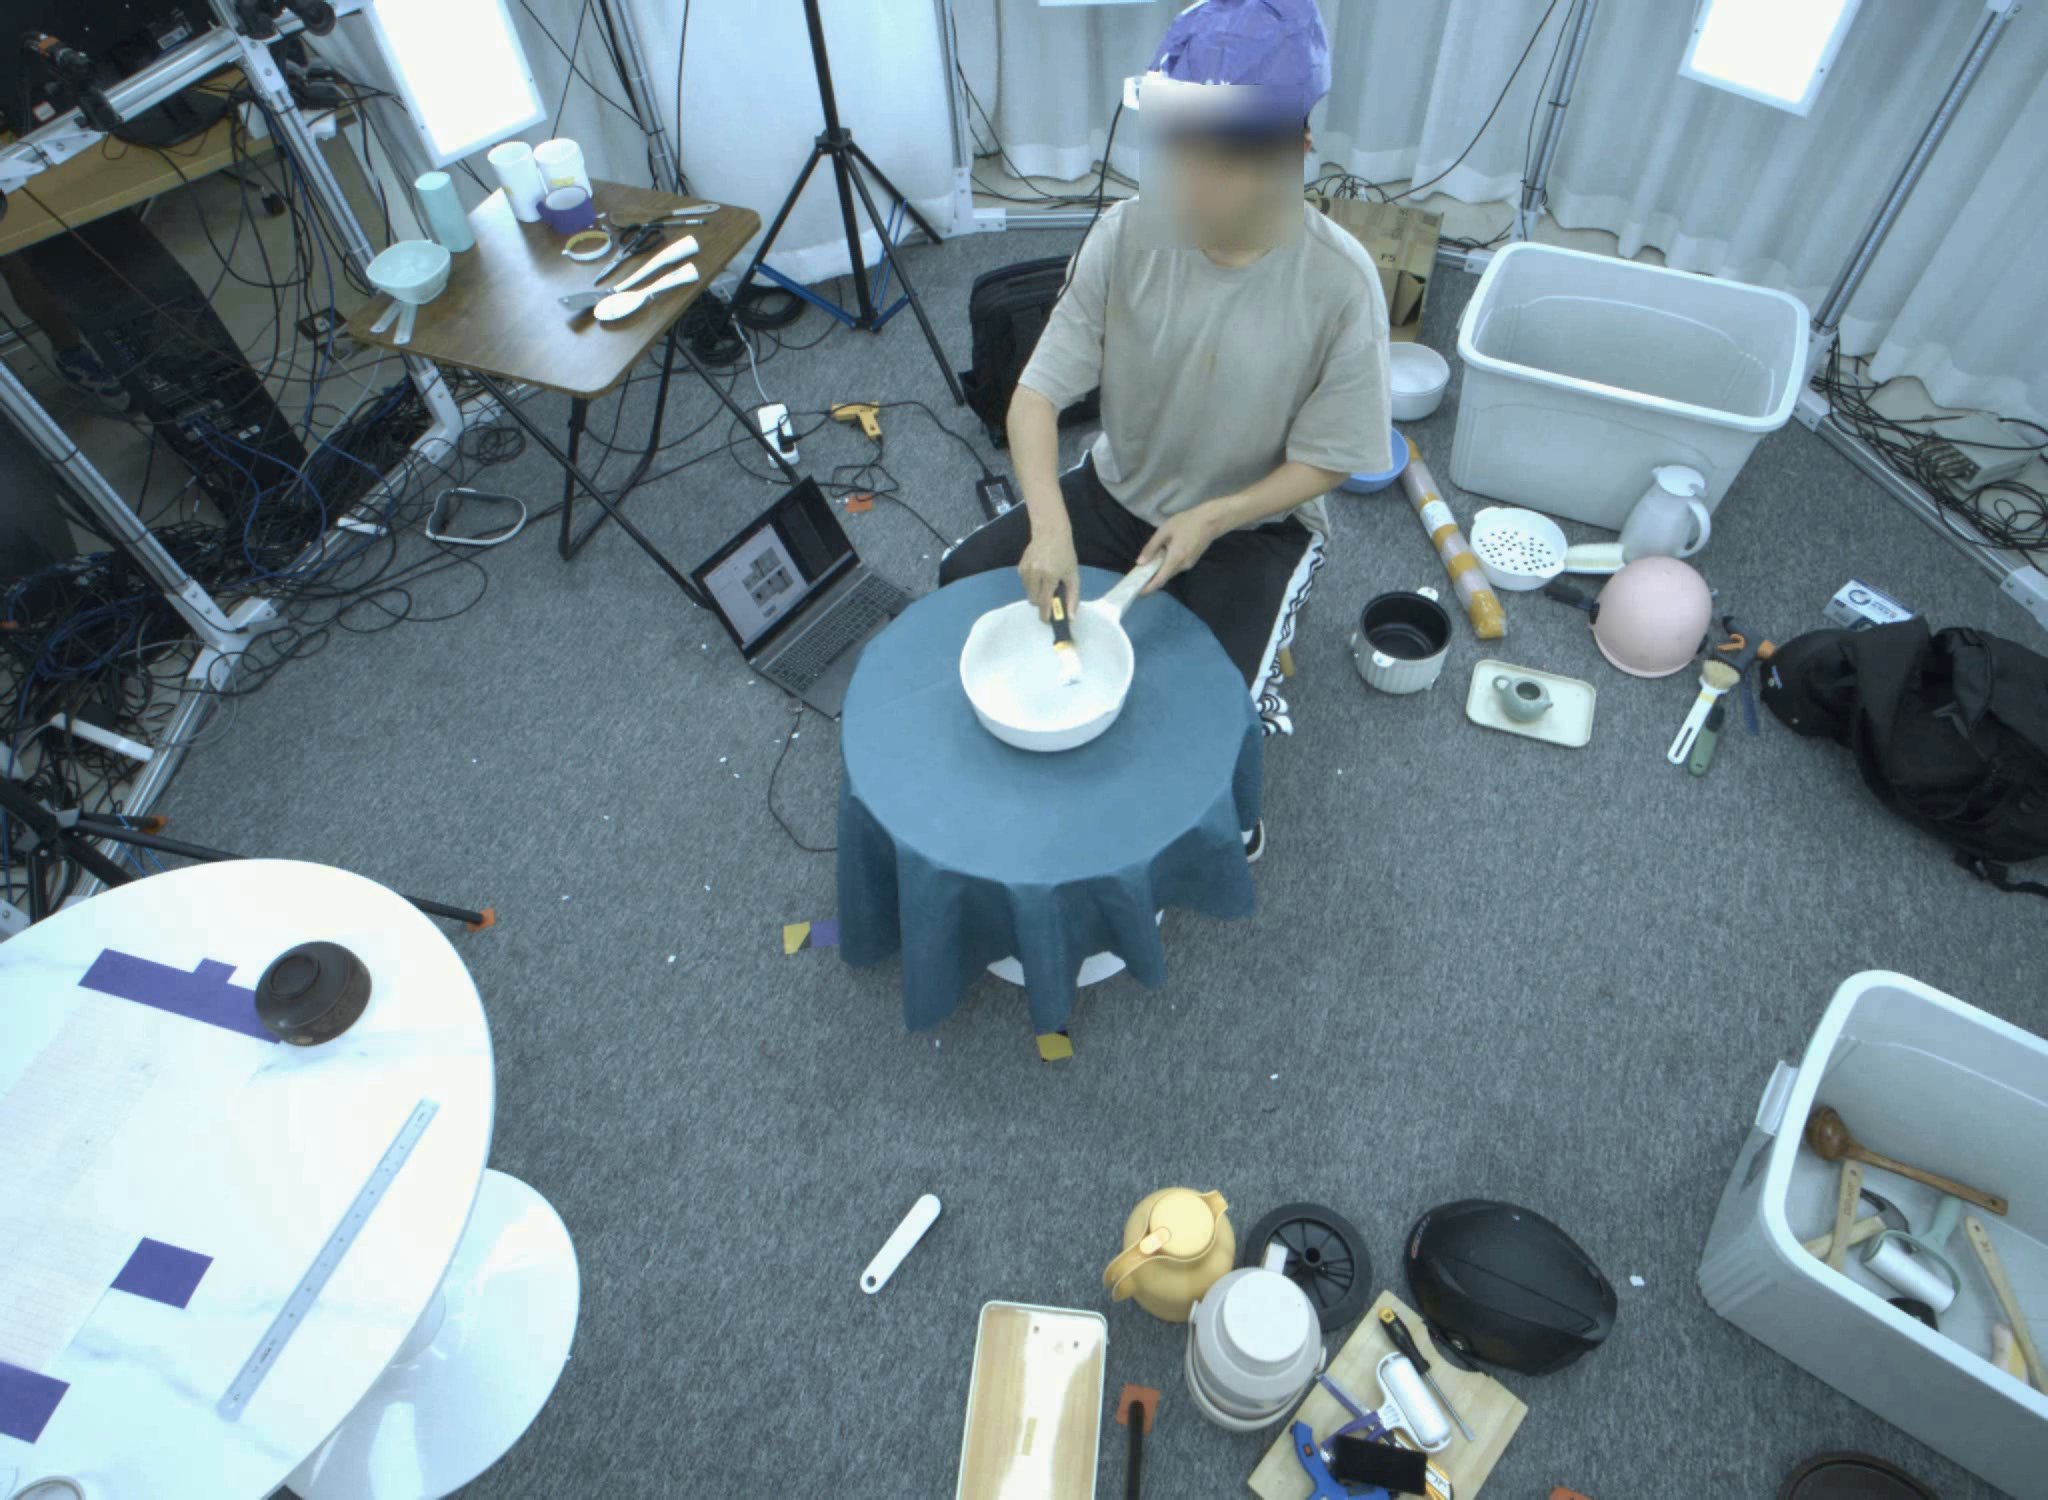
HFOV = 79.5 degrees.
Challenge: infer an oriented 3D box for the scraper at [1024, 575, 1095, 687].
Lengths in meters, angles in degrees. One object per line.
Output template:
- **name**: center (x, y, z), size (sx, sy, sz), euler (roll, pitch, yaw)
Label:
- **scraper**: center (0.046, -0.169, 1.734), size (0.039, 0.173, 0.015), euler (-30, 18, -5)

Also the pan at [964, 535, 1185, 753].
- **pan**: center (0.101, -0.162, 1.838), size (0.258, 0.103, 0.437), euler (34, 63, 26)
